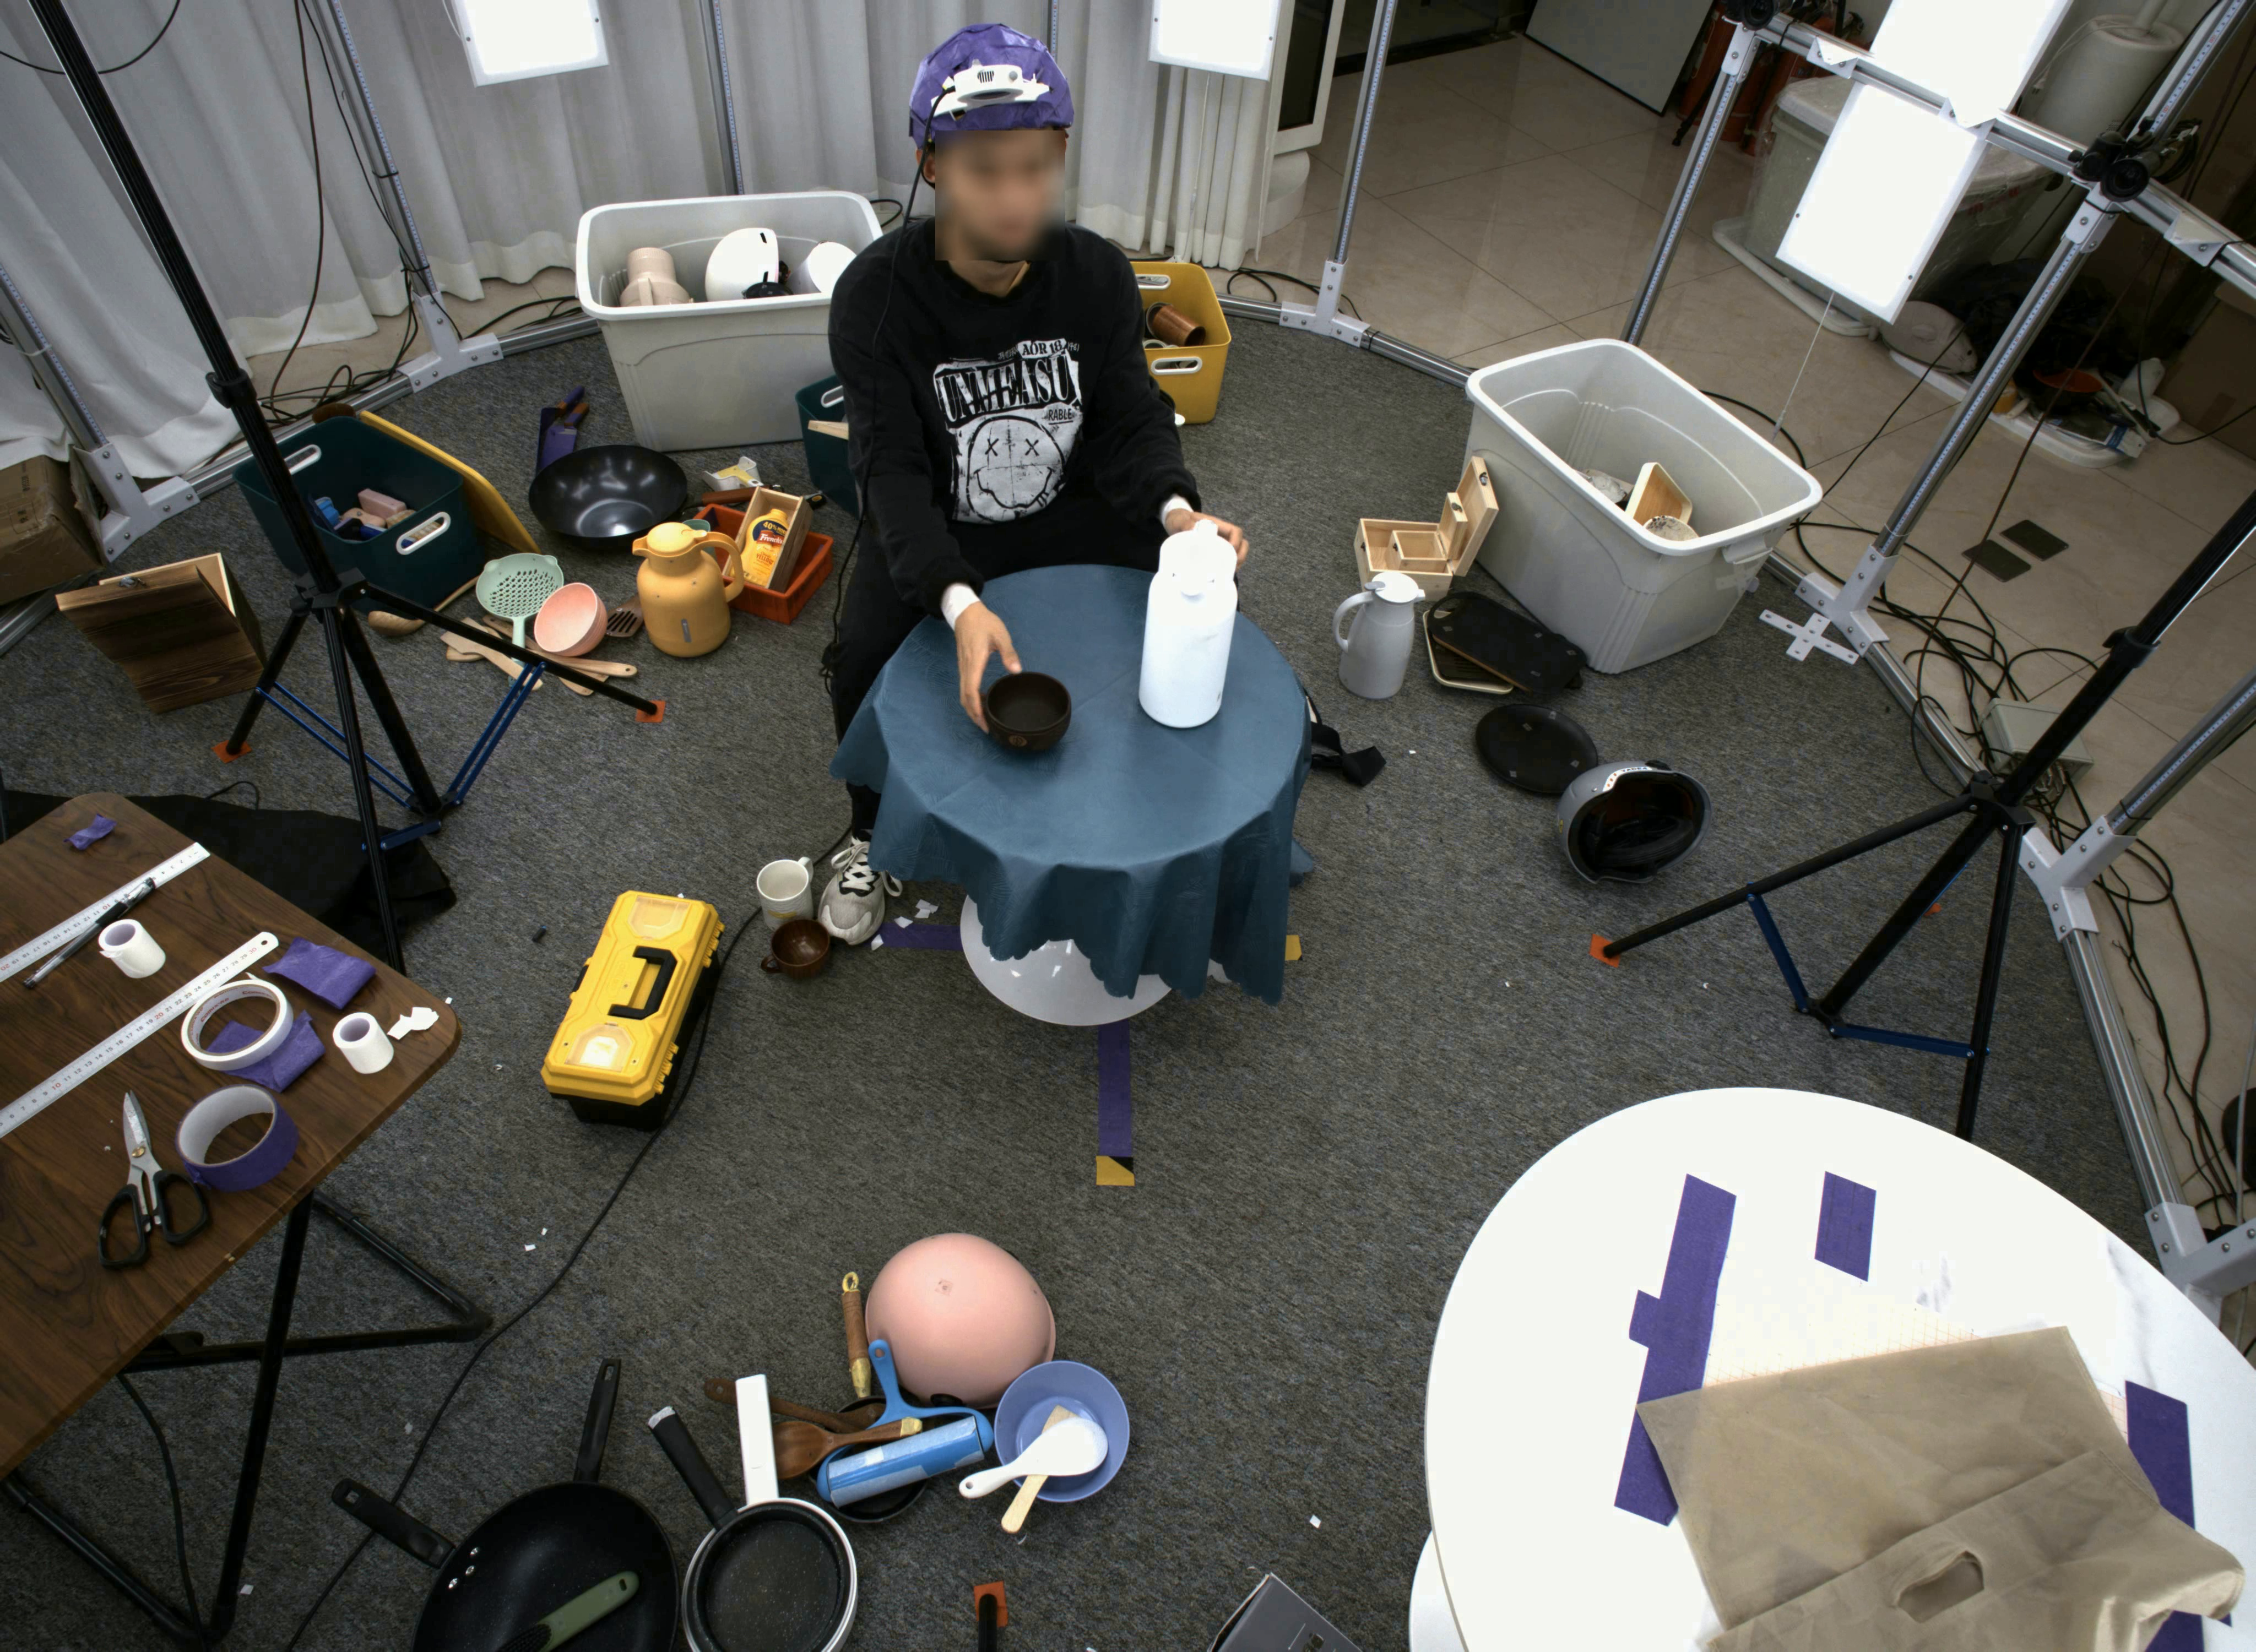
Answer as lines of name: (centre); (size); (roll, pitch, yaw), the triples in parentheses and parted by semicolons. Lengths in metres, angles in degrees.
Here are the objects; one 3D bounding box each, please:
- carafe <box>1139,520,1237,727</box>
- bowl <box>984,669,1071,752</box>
carafe: (0.082, -0.276, 1.741); (0.124, 0.262, 0.177); (8, 49, 5)
bowl: (-0.136, -0.148, 1.742); (0.118, 0.068, 0.121); (2, 51, -3)
